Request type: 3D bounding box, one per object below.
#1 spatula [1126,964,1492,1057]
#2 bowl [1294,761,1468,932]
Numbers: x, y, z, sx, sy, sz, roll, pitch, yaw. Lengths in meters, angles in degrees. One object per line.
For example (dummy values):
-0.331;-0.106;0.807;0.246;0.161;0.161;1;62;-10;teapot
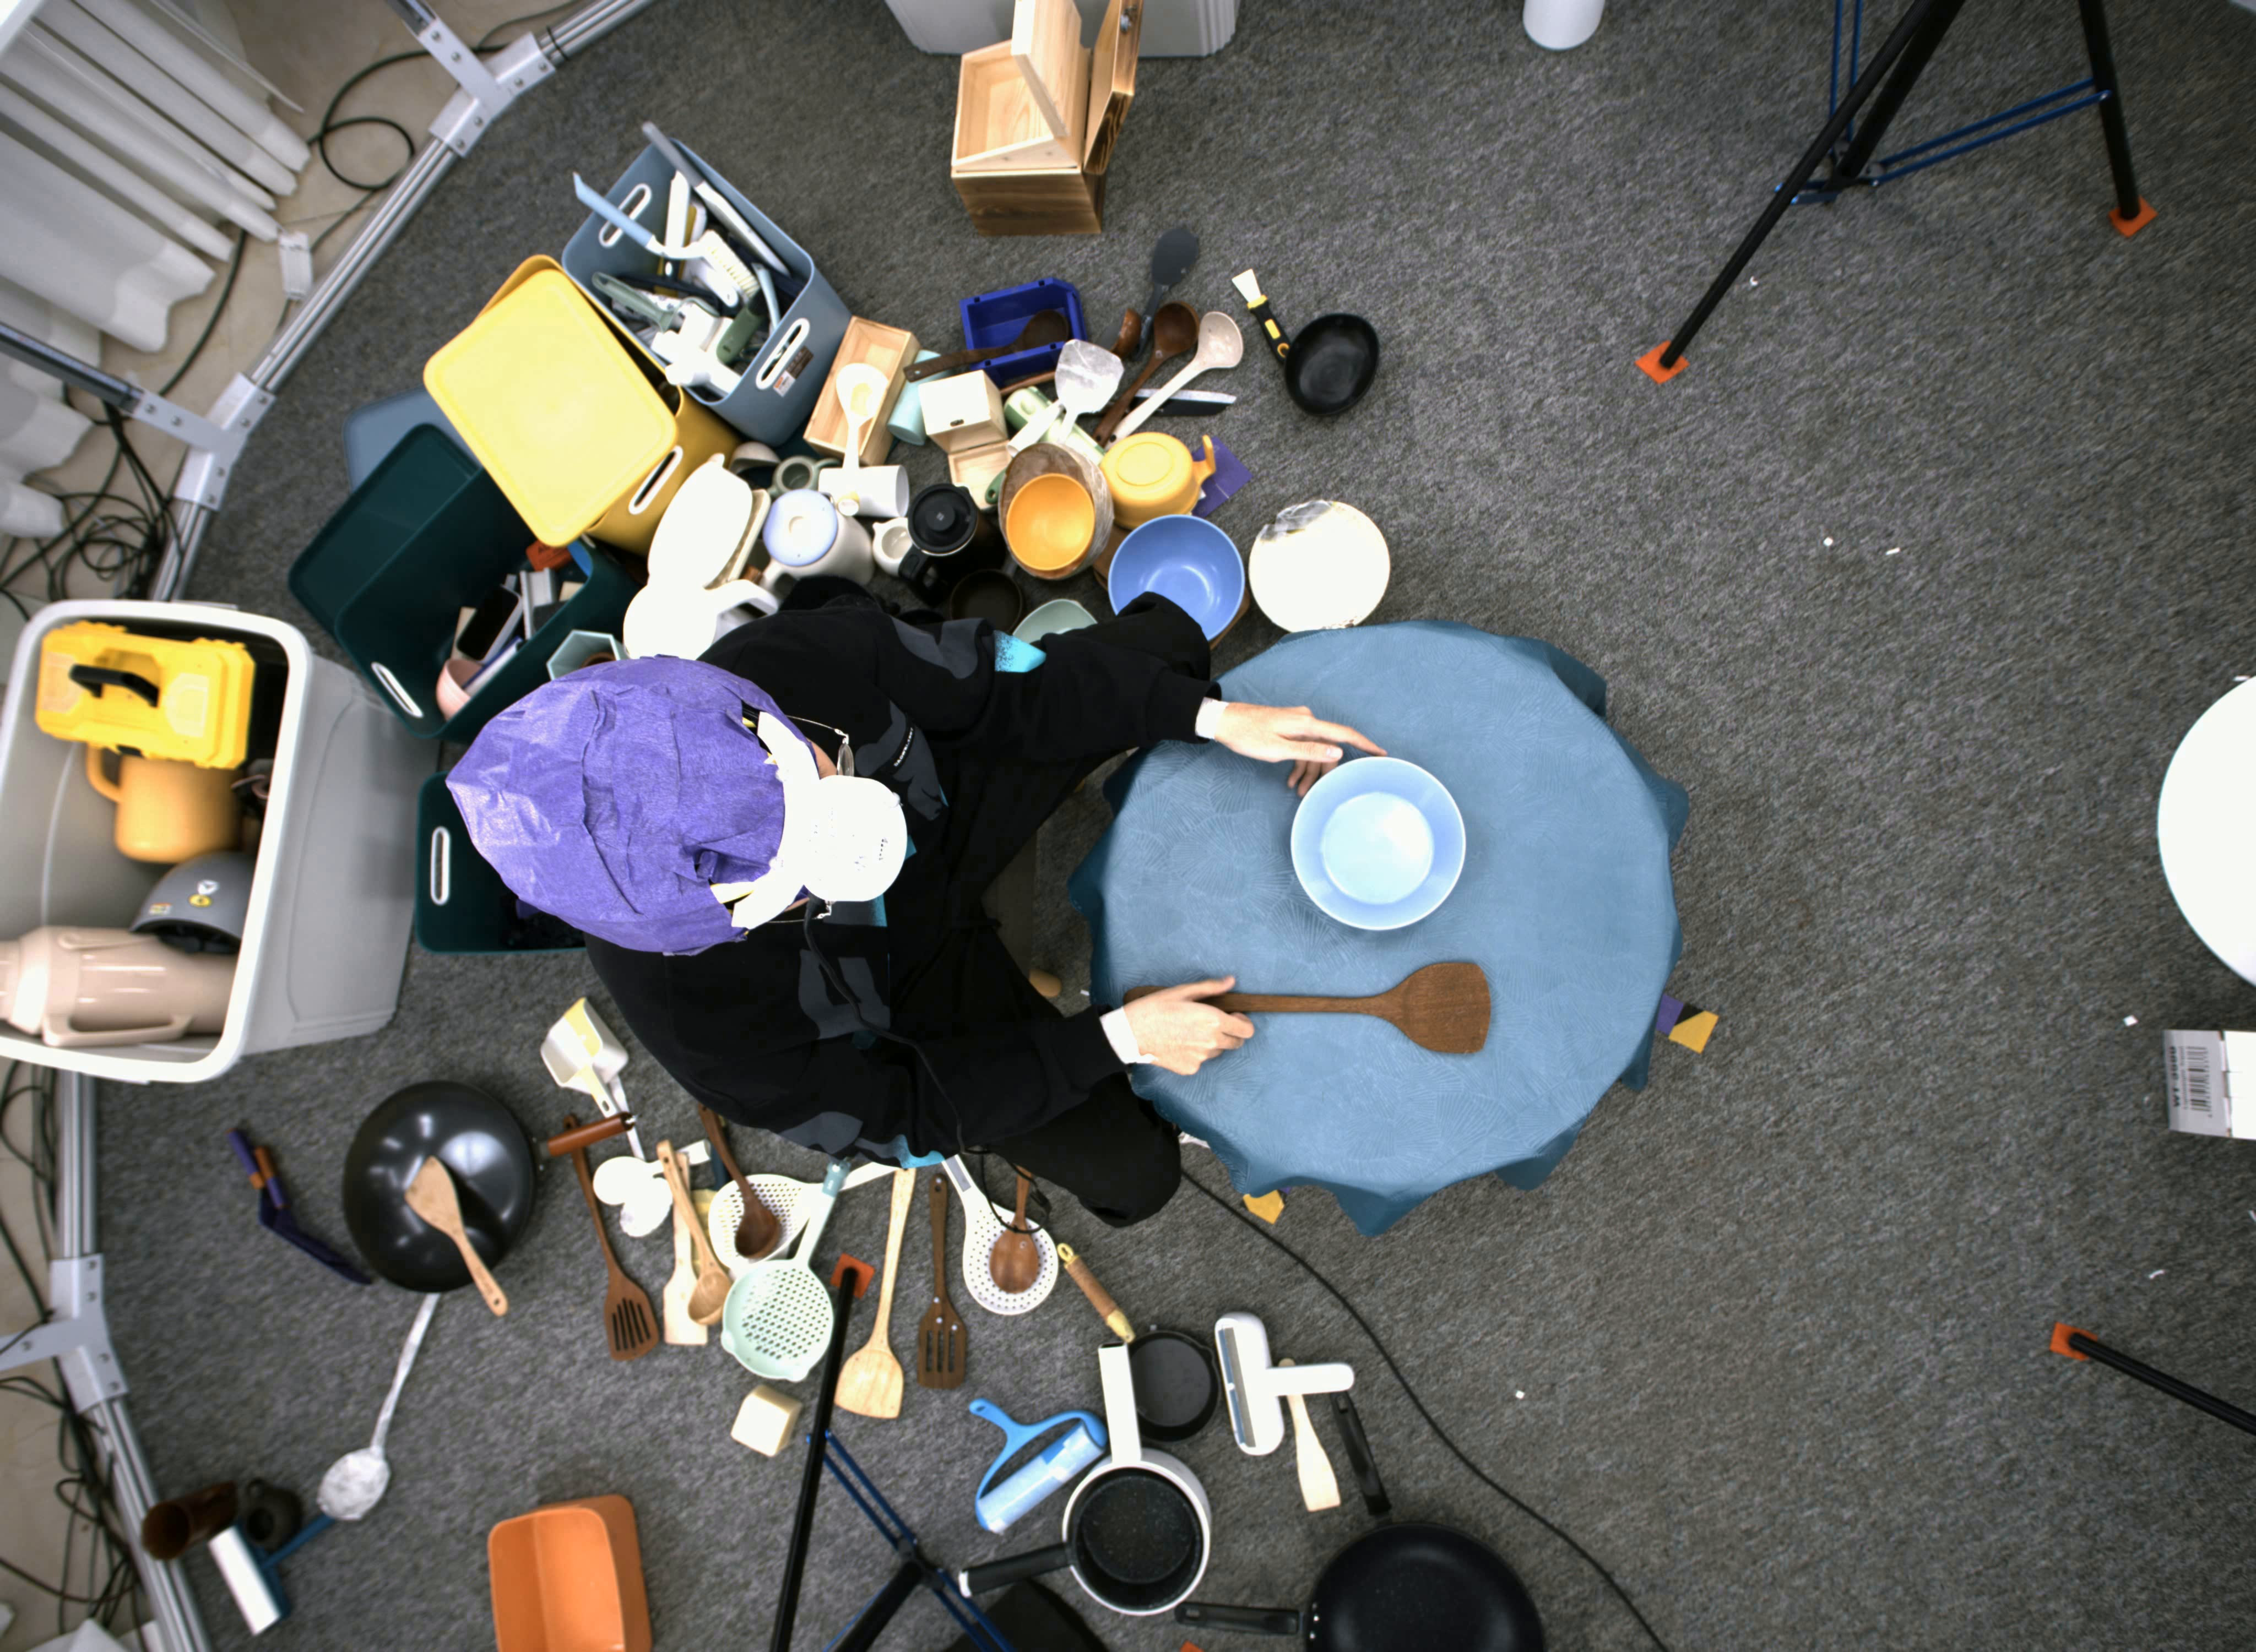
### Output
0.187;0.191;1.465;0.387;0.016;0.095;0;85;11;spatula
0.263;0.023;1.434;0.177;0.070;0.175;-1;85;11;bowl
